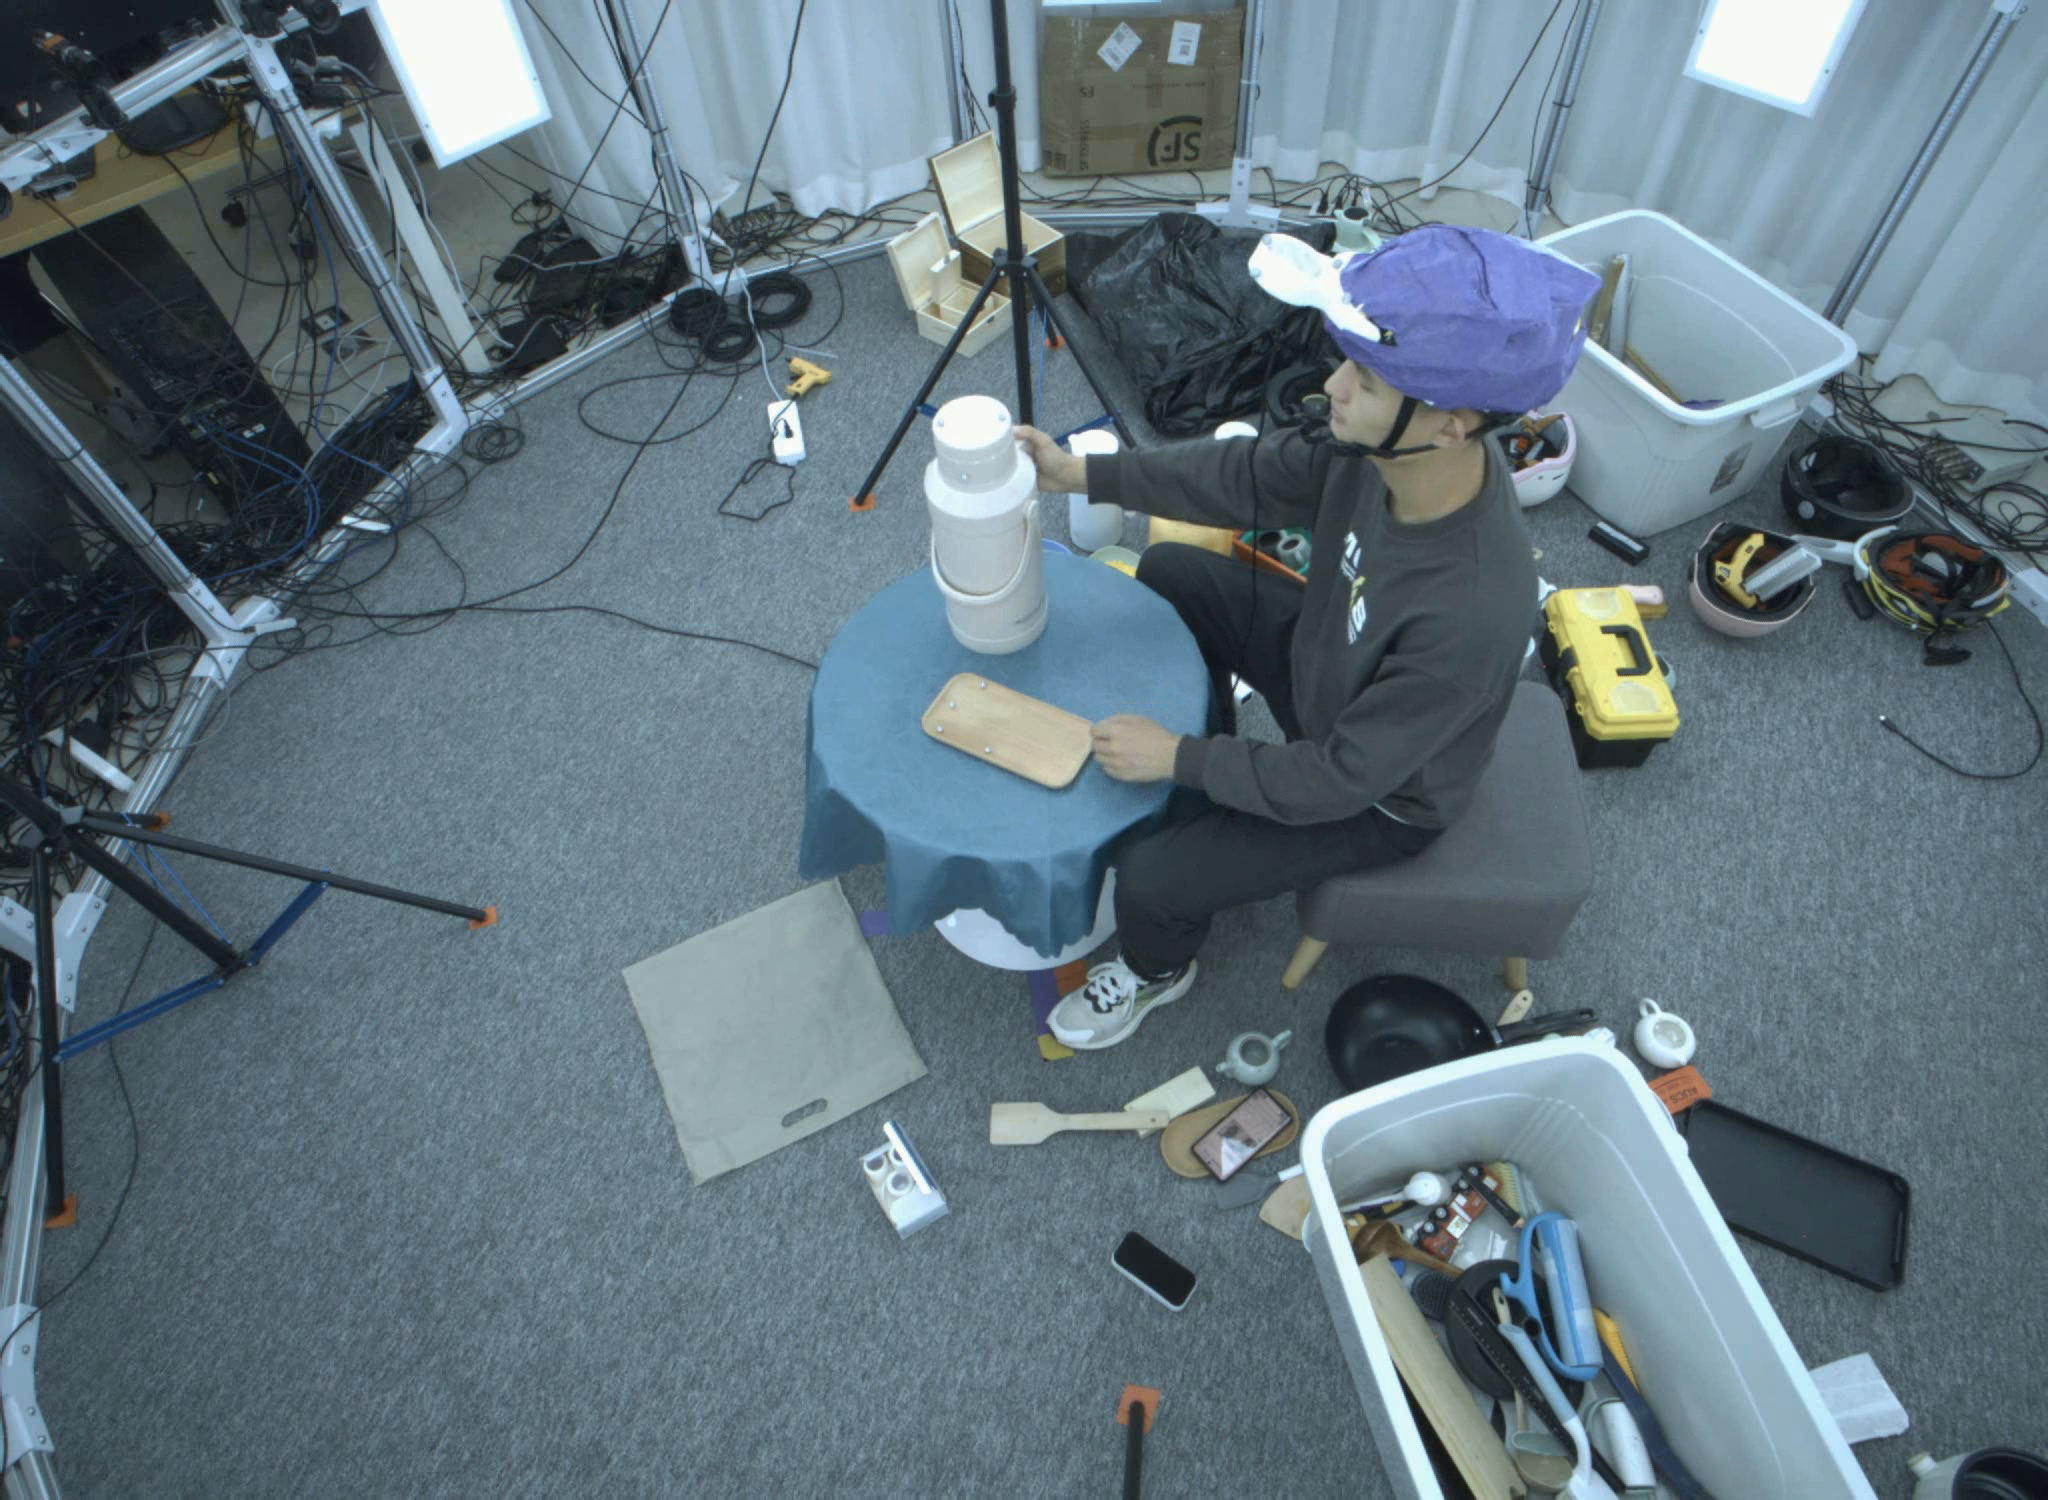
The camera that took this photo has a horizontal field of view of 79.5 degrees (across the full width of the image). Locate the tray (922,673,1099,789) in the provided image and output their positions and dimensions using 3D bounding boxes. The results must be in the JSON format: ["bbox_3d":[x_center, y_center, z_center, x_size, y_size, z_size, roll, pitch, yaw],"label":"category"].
[{"bbox_3d":[-0.020,-0.029,1.797,0.247,0.023,0.131,24,61,17],"label":"tray"}]

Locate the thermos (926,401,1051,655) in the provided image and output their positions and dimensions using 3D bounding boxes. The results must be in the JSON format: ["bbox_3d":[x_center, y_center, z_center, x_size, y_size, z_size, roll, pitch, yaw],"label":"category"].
[{"bbox_3d":[-0.044,-0.331,1.773,0.172,0.411,0.207,24,62,21],"label":"thermos"}]
